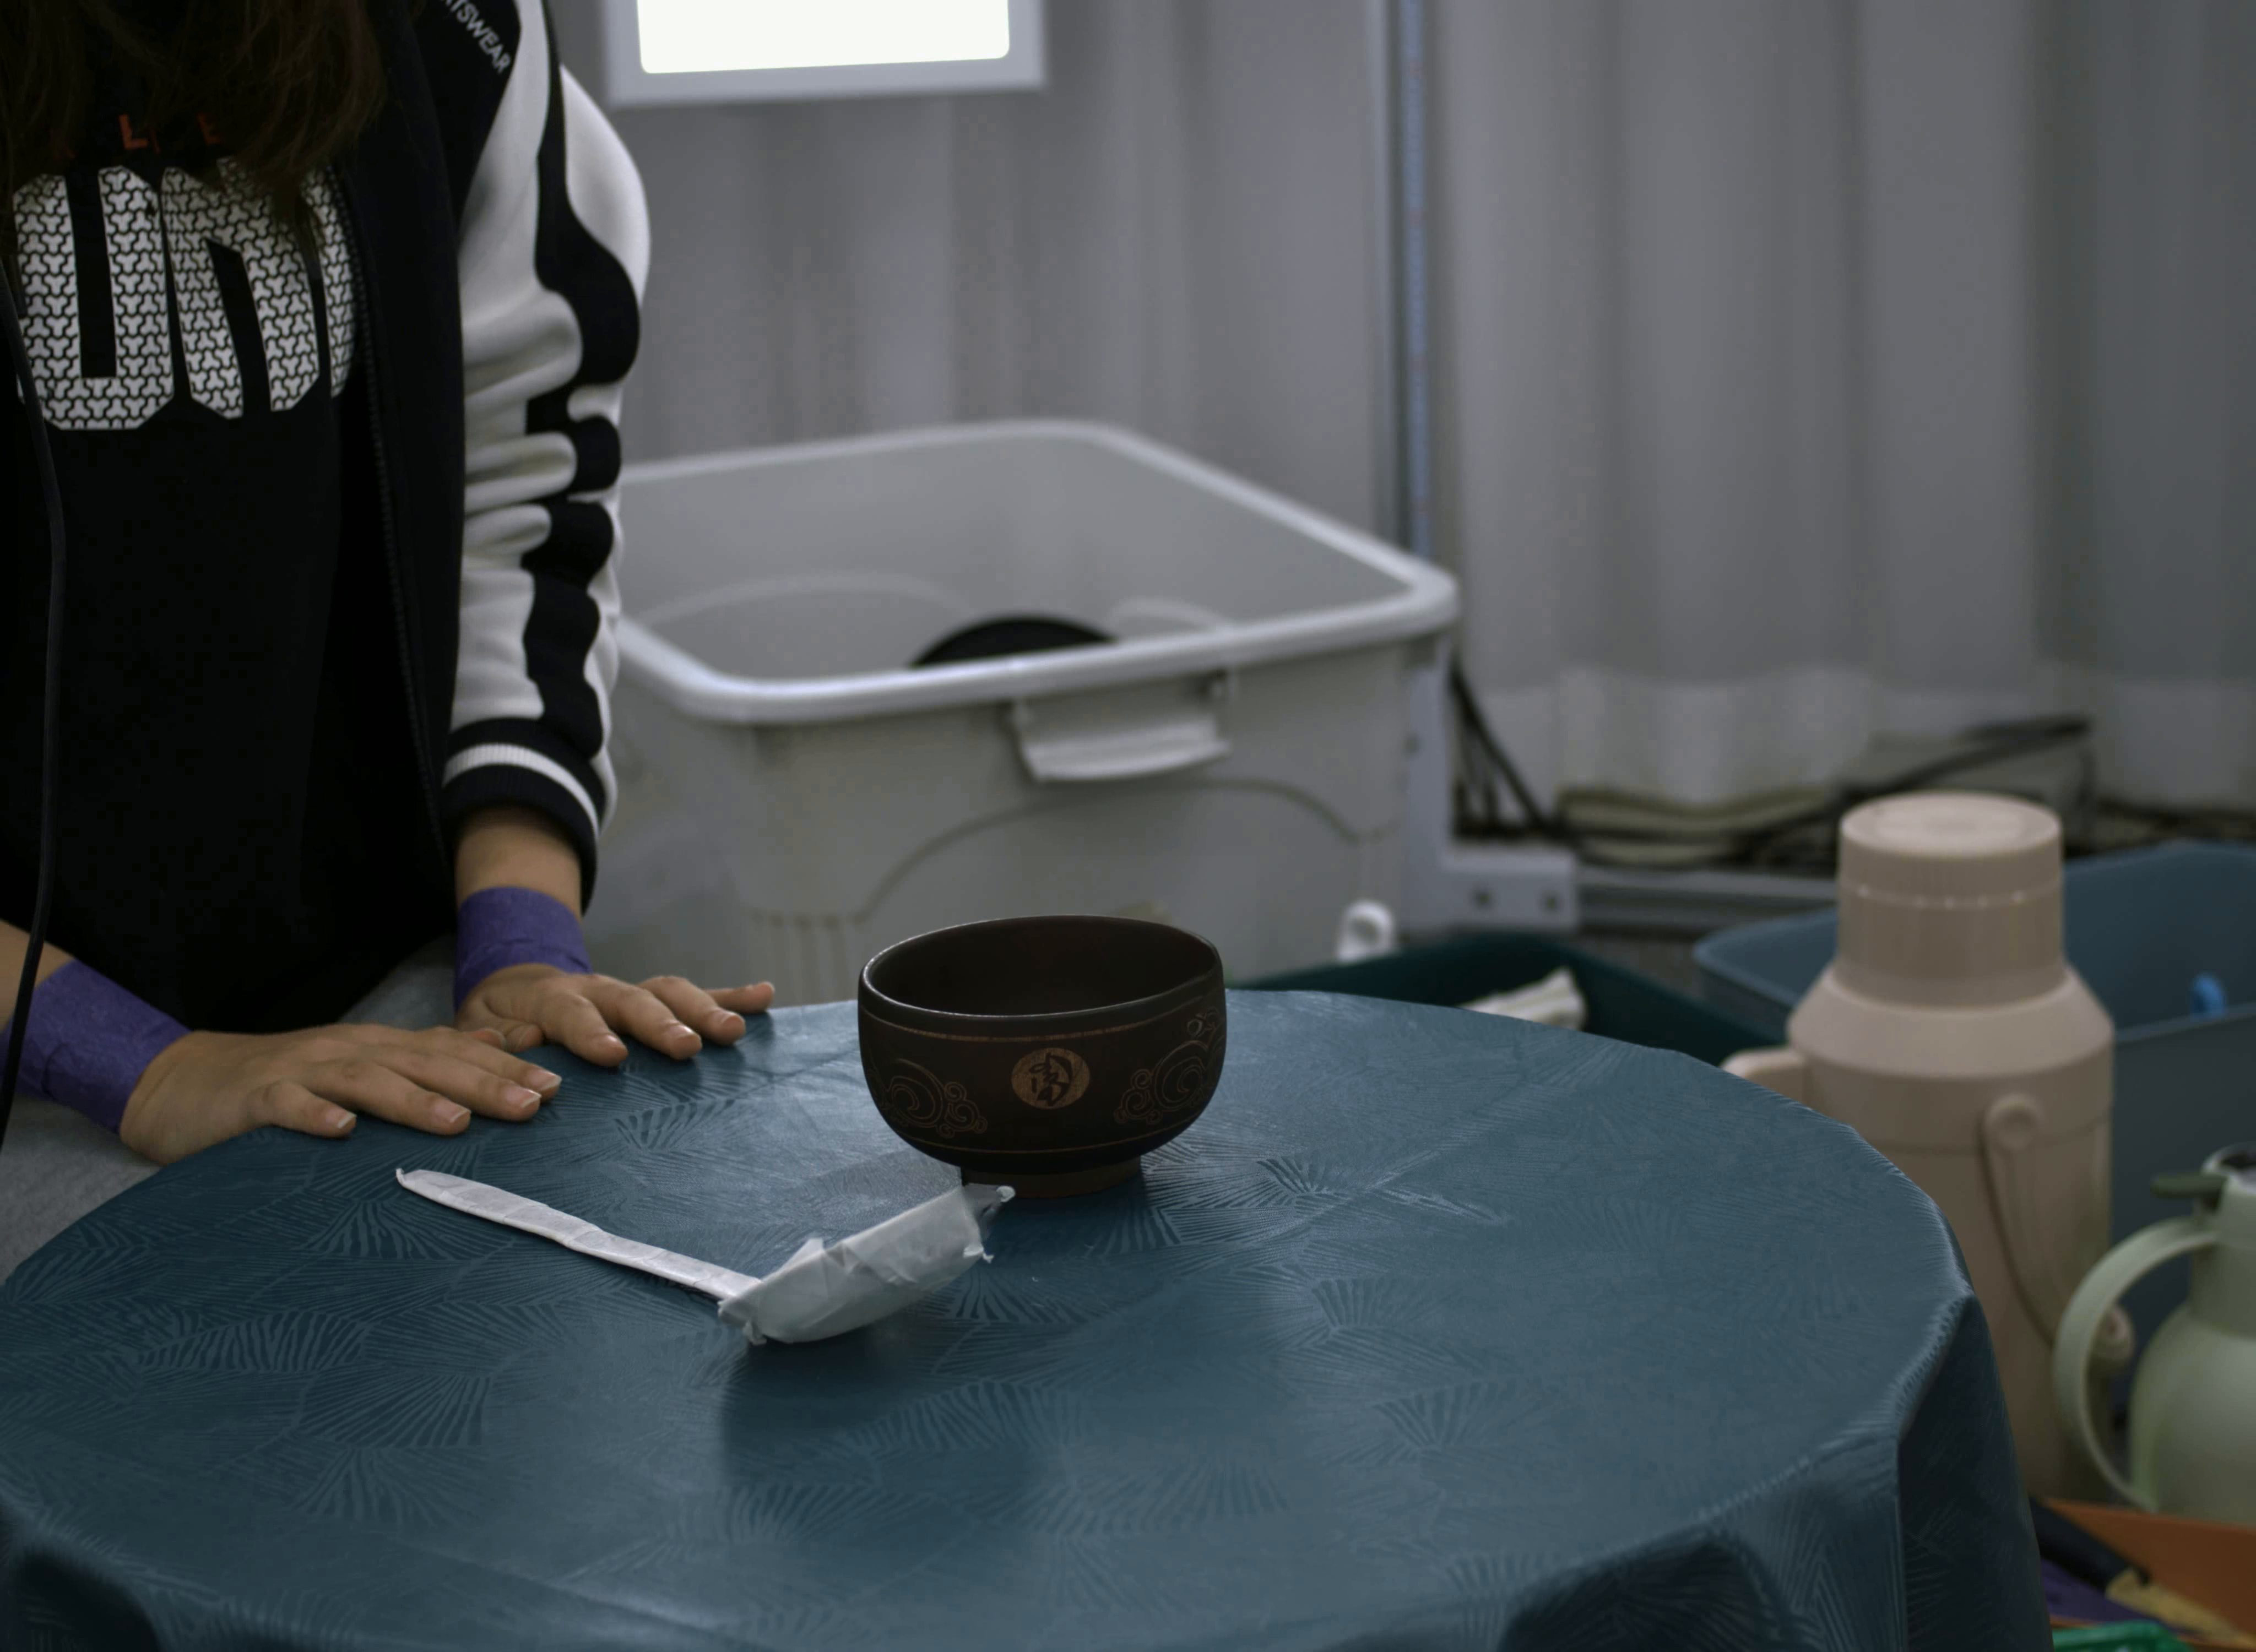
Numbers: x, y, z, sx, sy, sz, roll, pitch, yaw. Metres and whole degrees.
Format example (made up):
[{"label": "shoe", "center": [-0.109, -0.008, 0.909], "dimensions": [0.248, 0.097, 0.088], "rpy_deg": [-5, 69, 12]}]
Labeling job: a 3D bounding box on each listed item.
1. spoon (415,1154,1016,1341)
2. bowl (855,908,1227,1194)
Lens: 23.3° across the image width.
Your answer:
[{"label": "spoon", "center": [-0.136, 0.107, 1.659], "dimensions": [0.100, 0.059, 0.279], "rpy_deg": [-10, 16, -38]}, {"label": "bowl", "center": [-0.027, 0.075, 1.729], "dimensions": [0.117, 0.069, 0.119], "rpy_deg": [-2, 14, 0]}]
